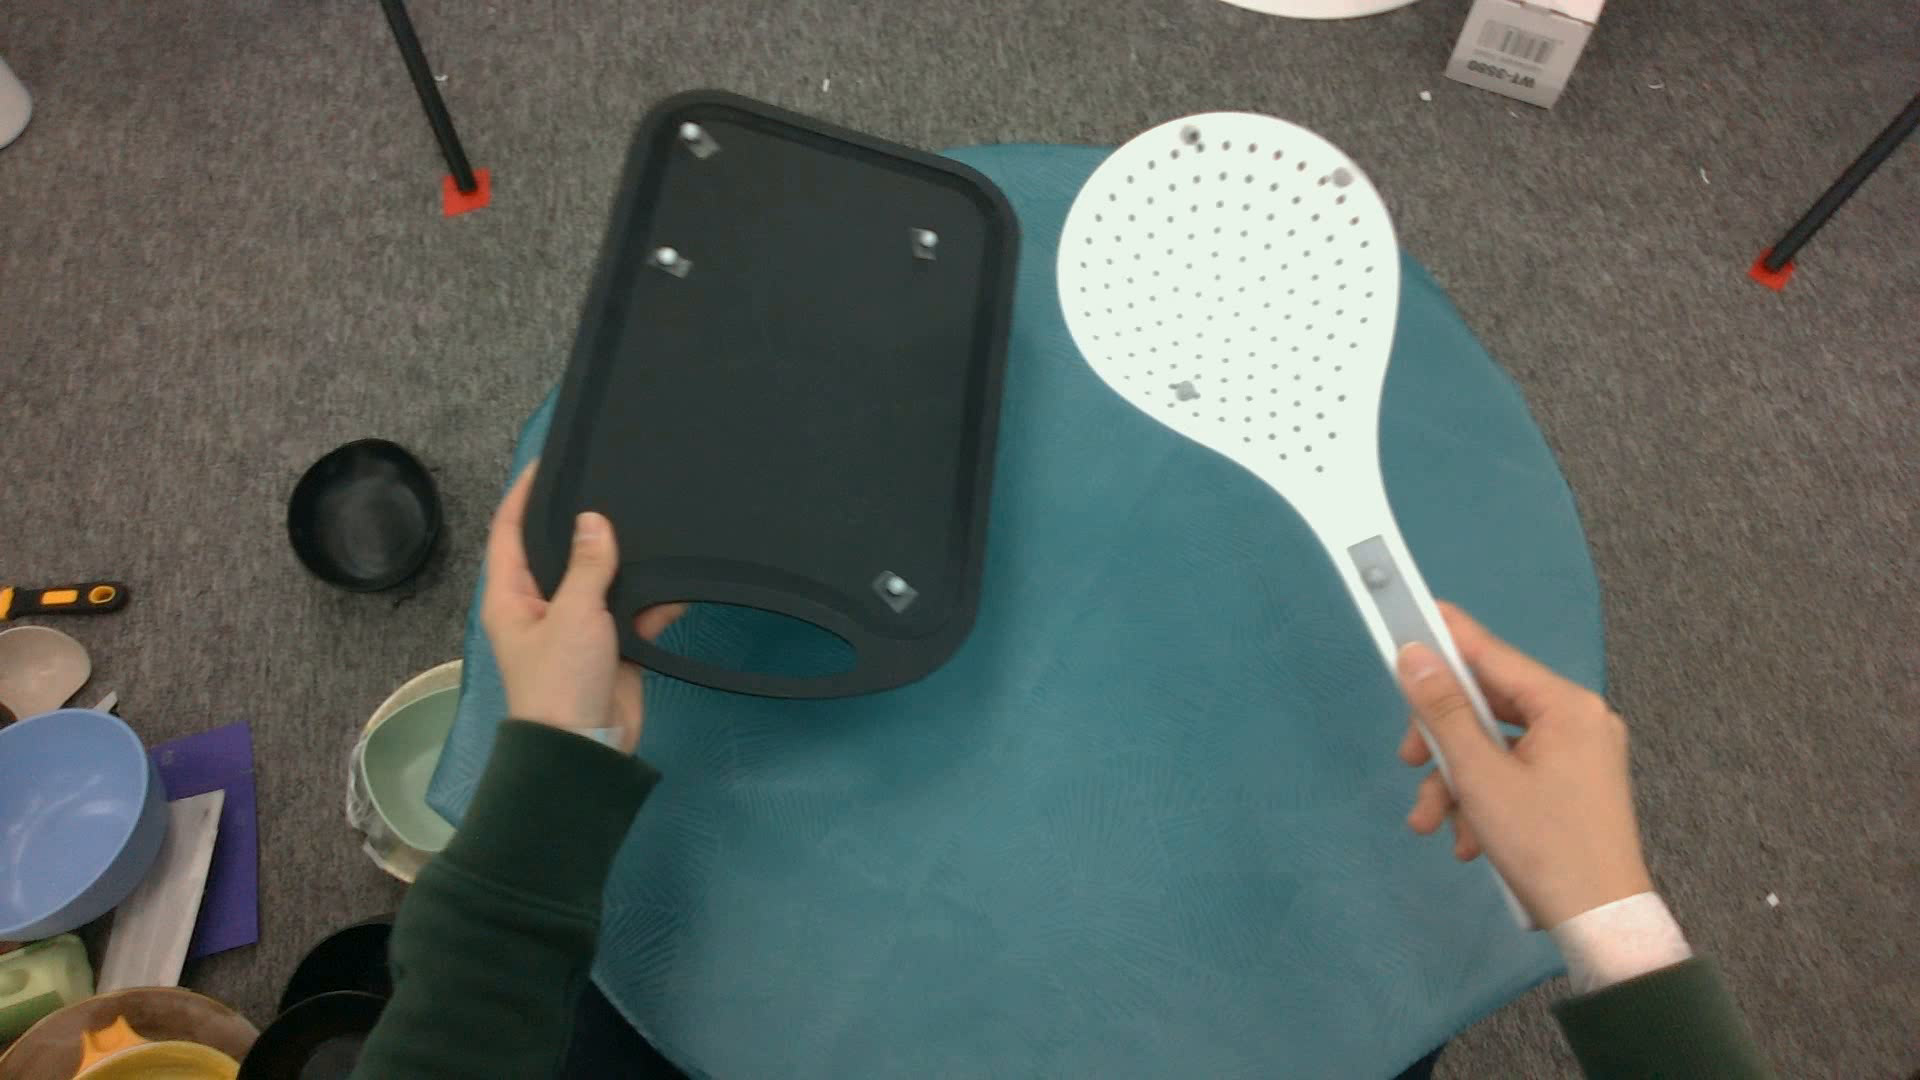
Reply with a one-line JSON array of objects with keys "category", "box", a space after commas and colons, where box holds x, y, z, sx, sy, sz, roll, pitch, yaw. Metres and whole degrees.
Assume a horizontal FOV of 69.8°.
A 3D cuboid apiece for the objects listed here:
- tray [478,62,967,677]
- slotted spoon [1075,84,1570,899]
[{"category": "tray", "box": [-0.101, -0.090, 0.661, 0.211, 0.010, 0.326, 11, 63, -15]}, {"category": "slotted spoon", "box": [0.157, -0.025, 0.559, 0.136, 0.046, 0.350, -25, 74, 13]}]
